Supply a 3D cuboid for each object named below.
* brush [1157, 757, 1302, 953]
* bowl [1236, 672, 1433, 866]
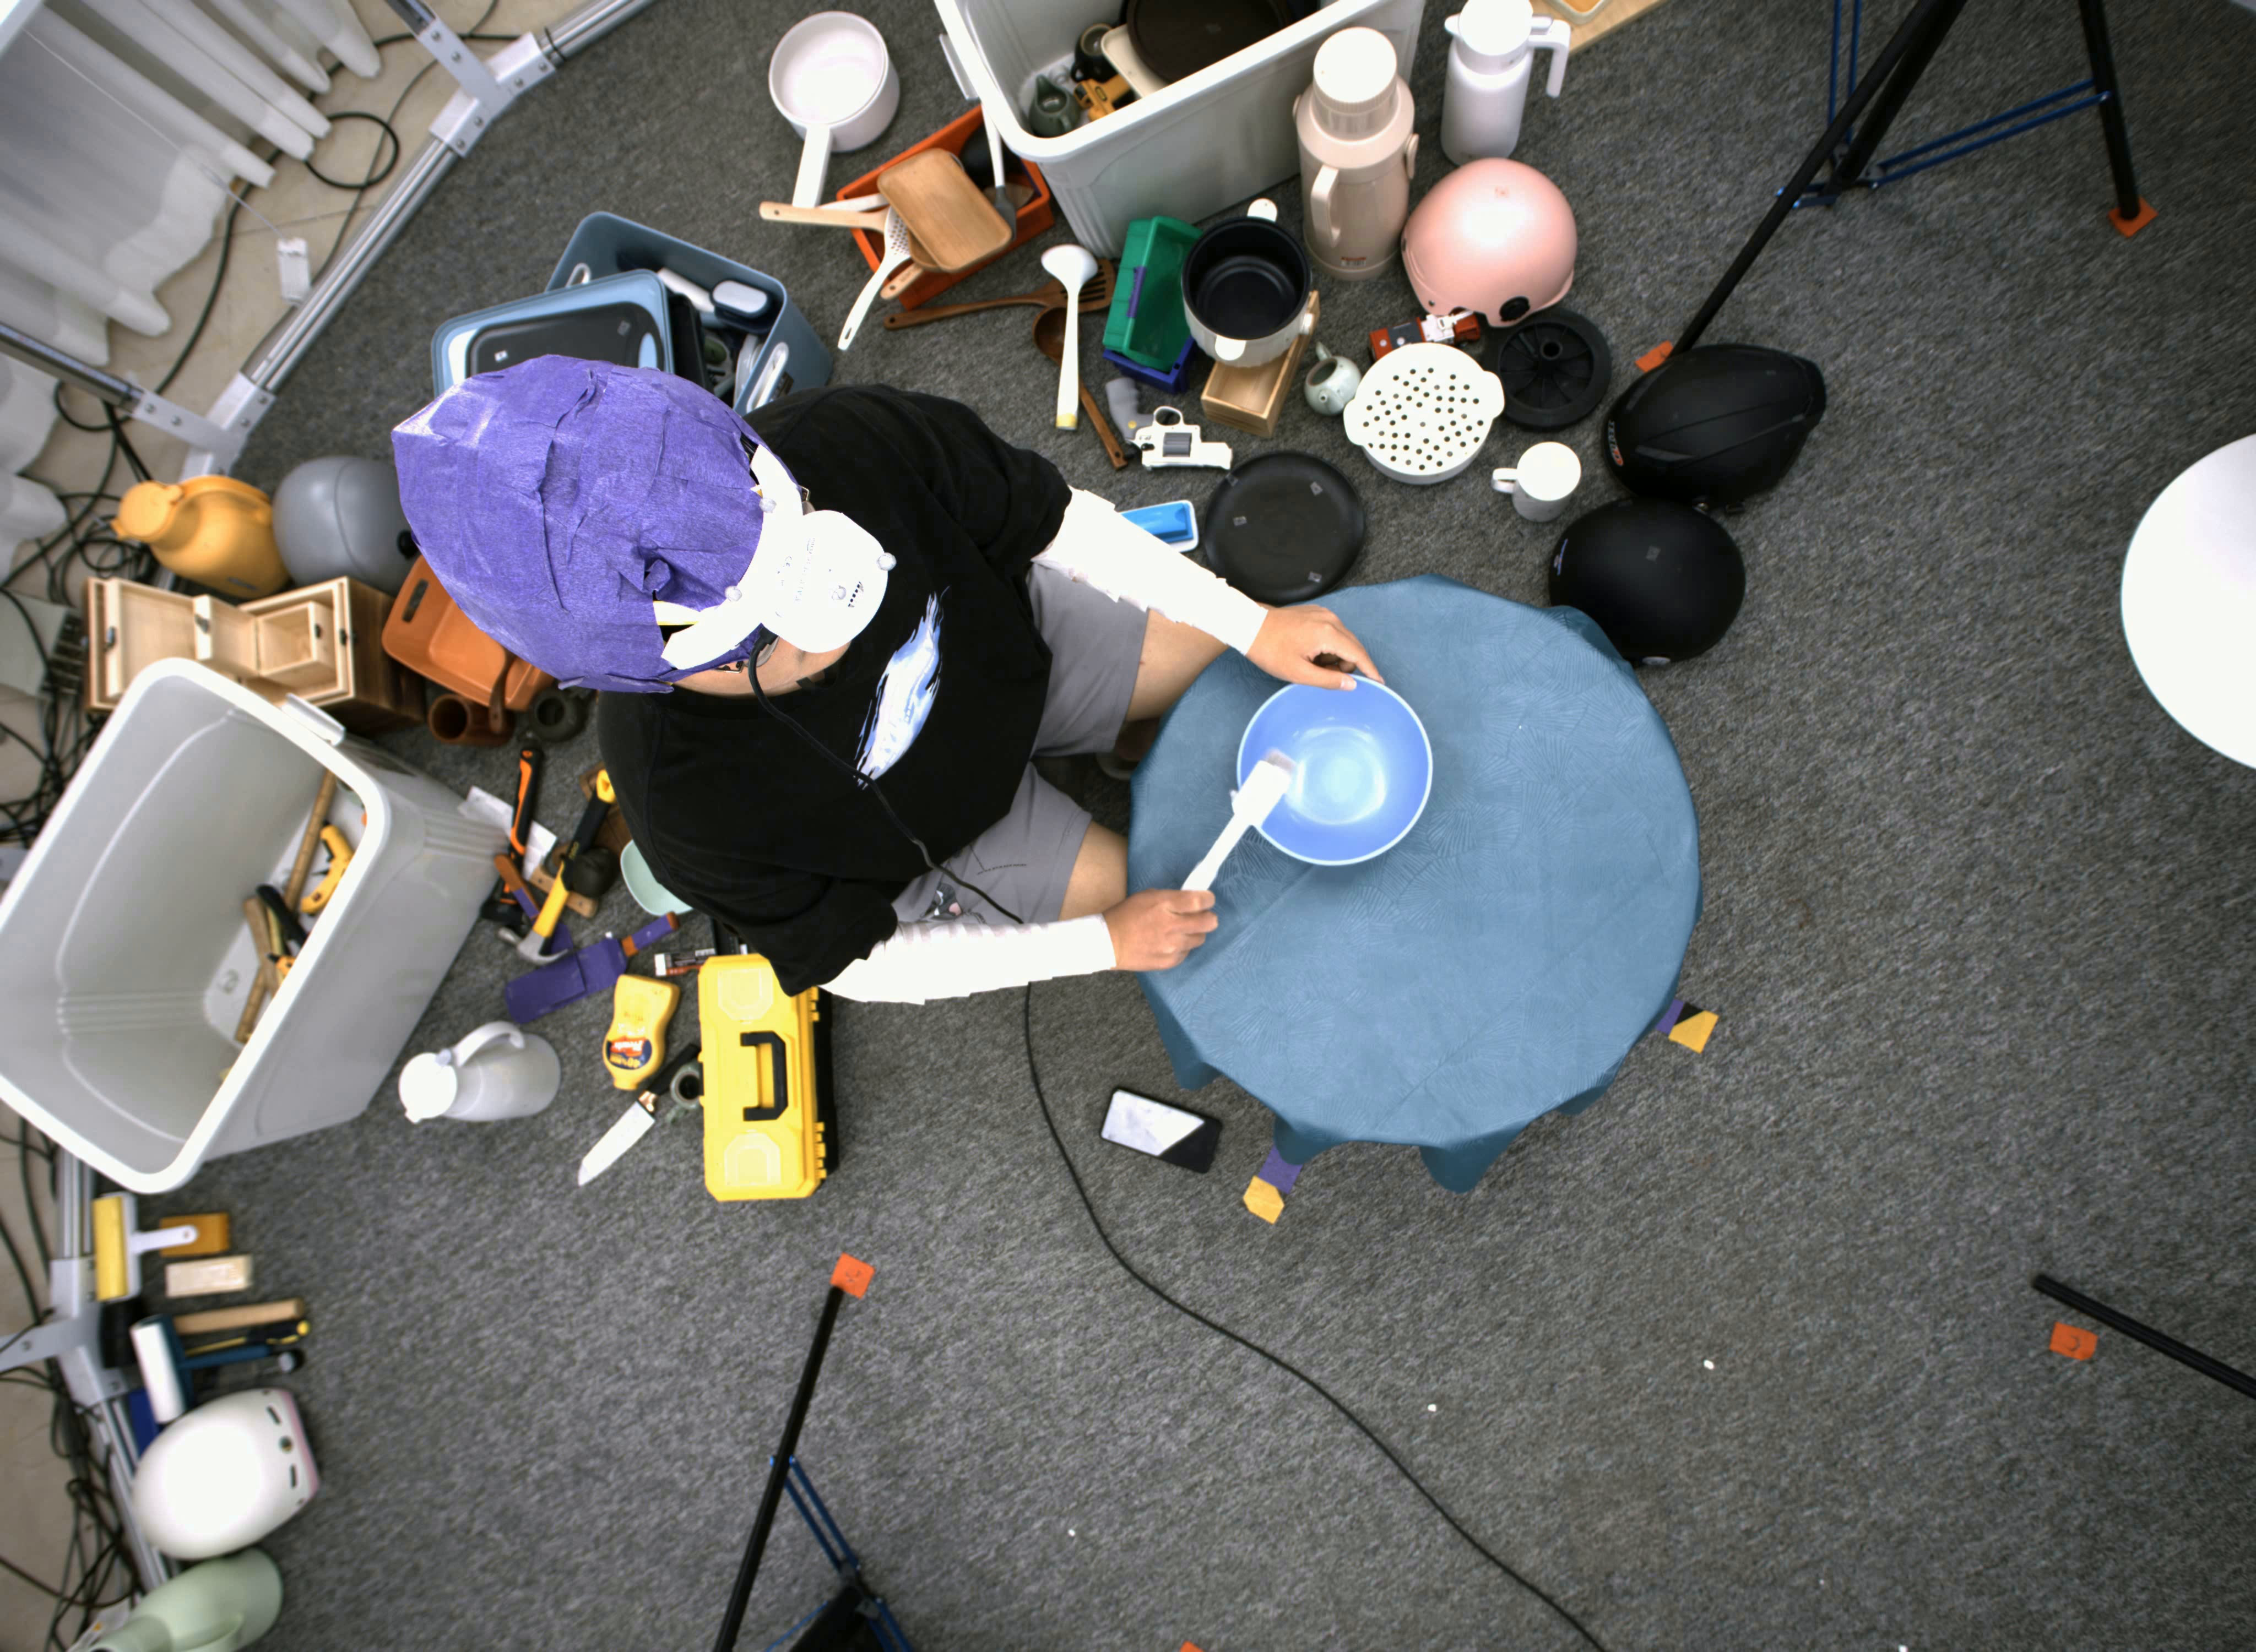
[{"bbox_3d":[0.100,0.031,1.411,0.034,0.049,0.249,34,119,4],"label":"brush"},{"bbox_3d":[0.215,-0.055,1.430,0.197,0.095,0.196,-1,88,12],"label":"bowl"}]
